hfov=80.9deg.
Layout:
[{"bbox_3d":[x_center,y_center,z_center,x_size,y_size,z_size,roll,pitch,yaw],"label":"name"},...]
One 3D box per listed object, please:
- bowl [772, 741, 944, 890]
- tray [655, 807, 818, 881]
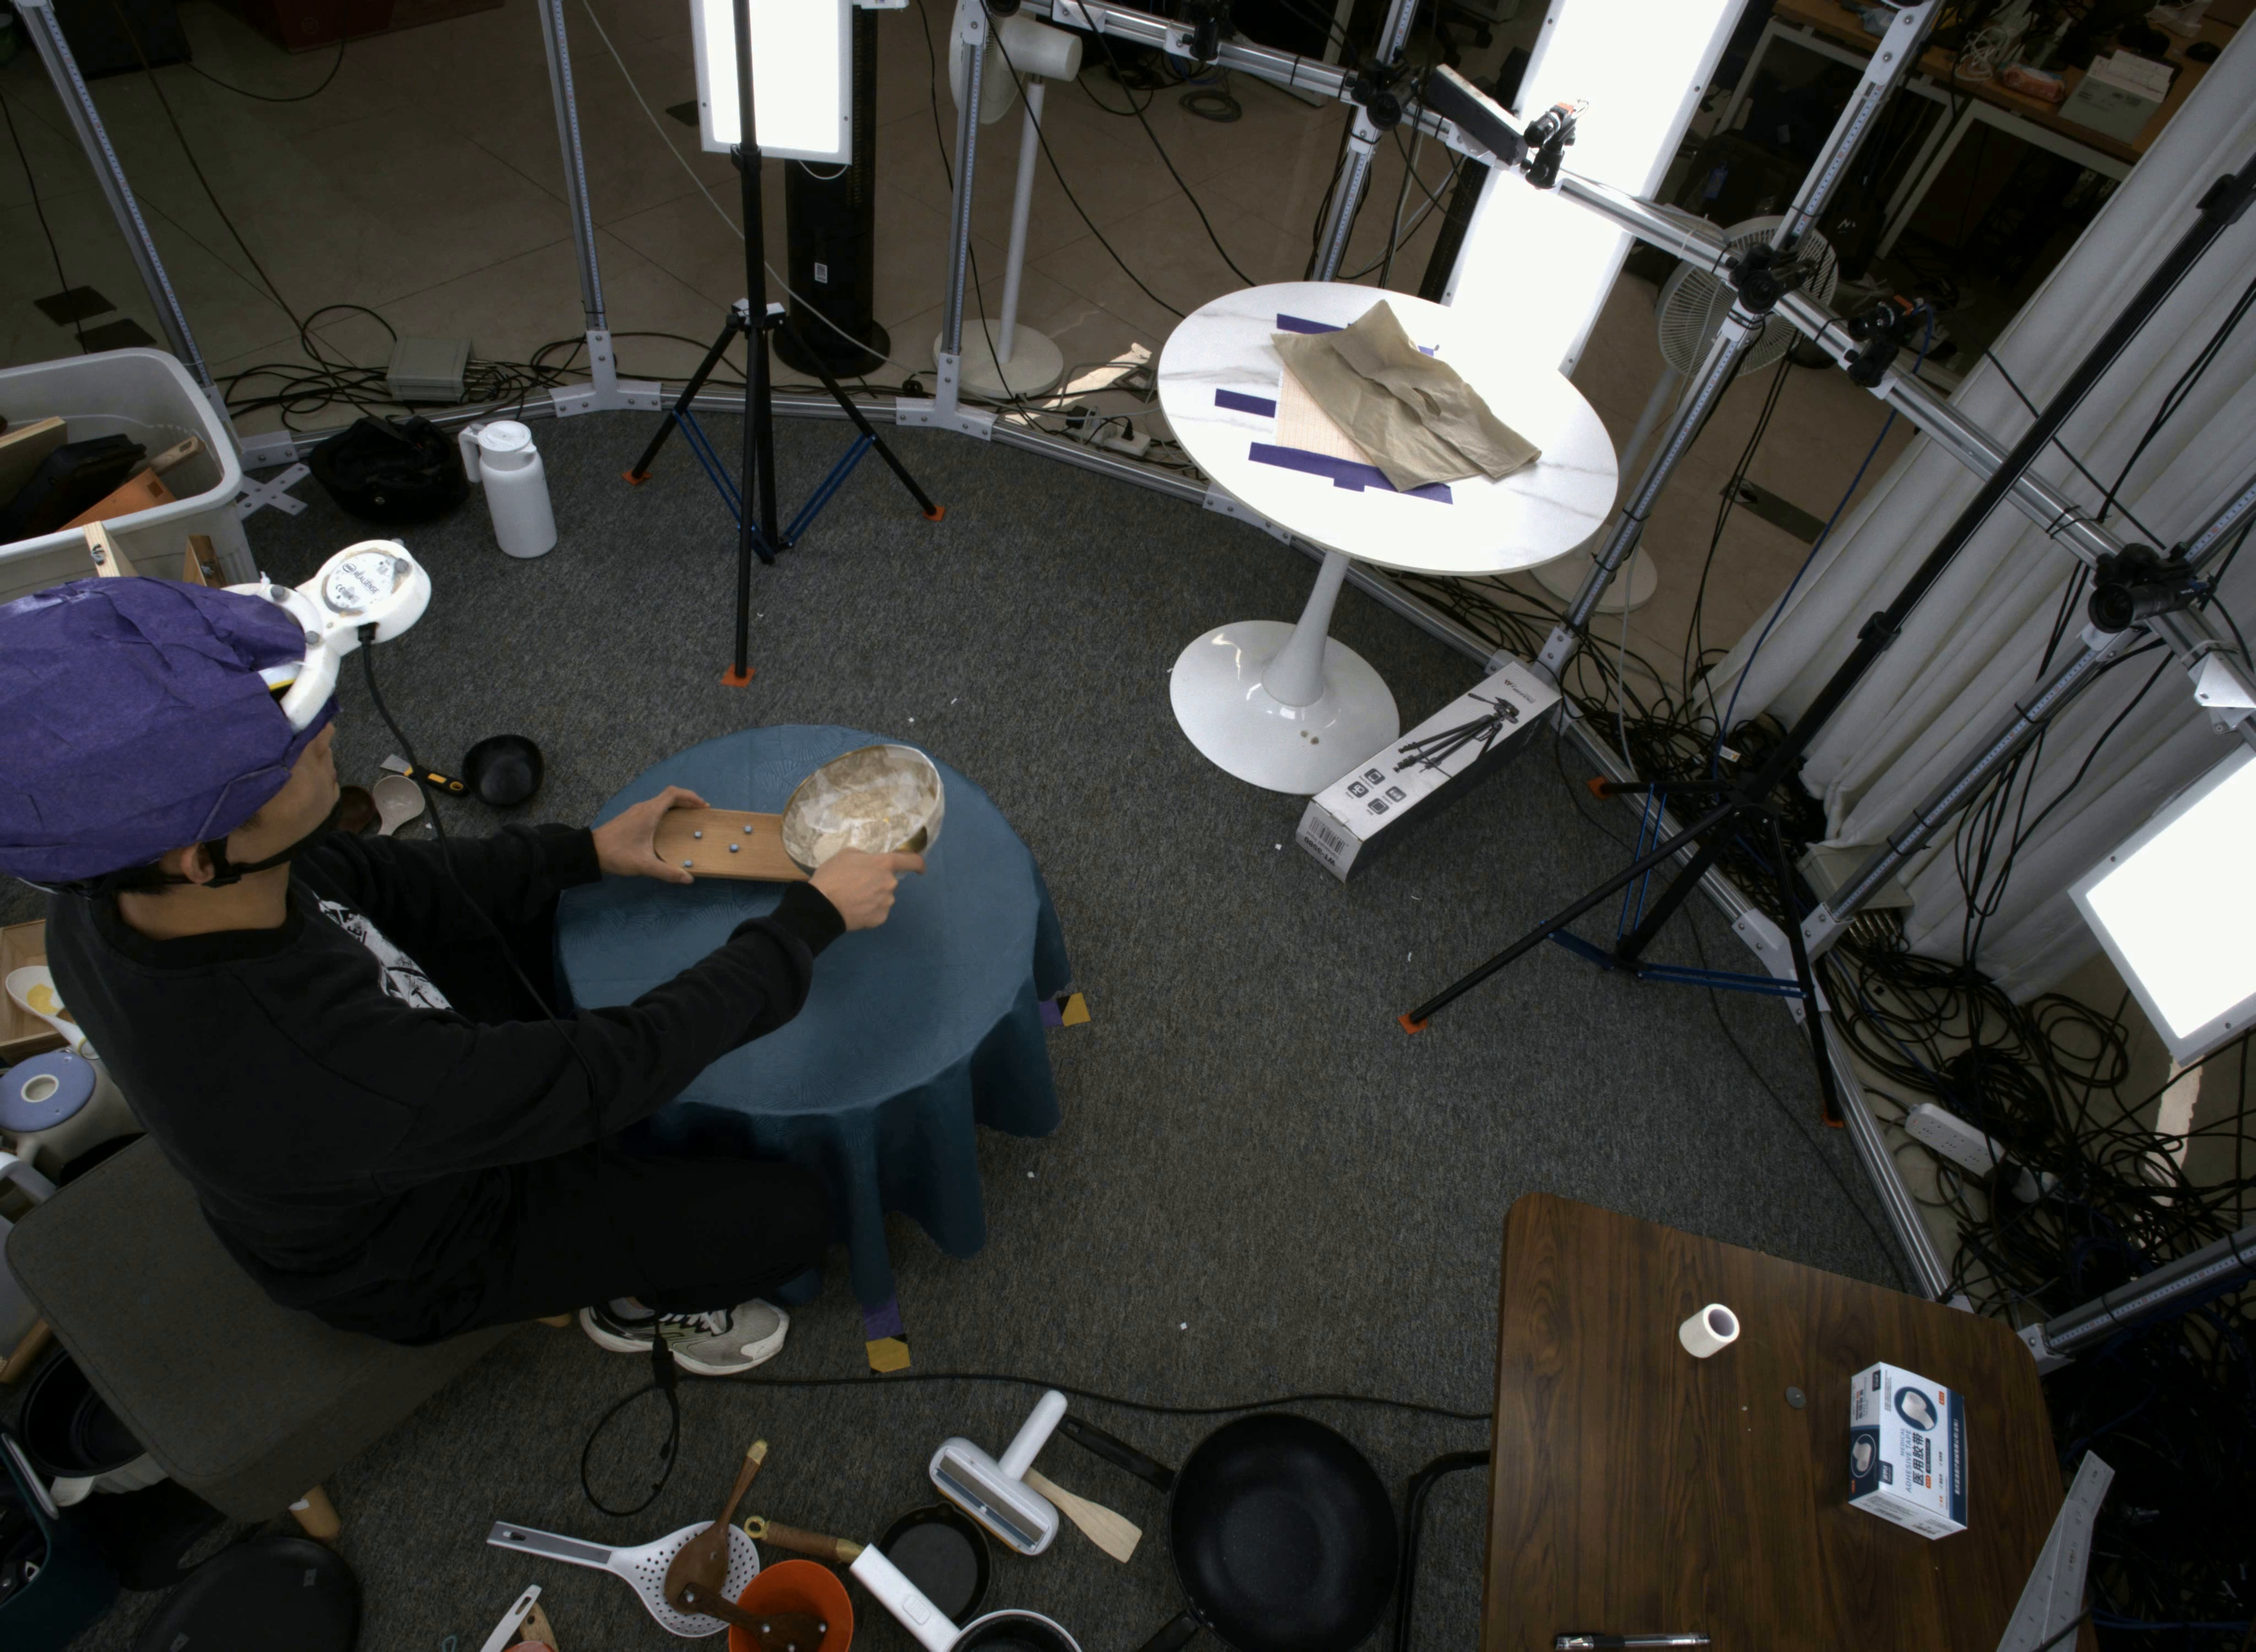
[{"bbox_3d":[-0.314,0.002,1.569,0.211,0.098,0.210,-6,49,9],"label":"bowl"},{"bbox_3d":[-0.486,0.023,1.652,0.235,0.020,0.099,5,55,-30],"label":"tray"}]
